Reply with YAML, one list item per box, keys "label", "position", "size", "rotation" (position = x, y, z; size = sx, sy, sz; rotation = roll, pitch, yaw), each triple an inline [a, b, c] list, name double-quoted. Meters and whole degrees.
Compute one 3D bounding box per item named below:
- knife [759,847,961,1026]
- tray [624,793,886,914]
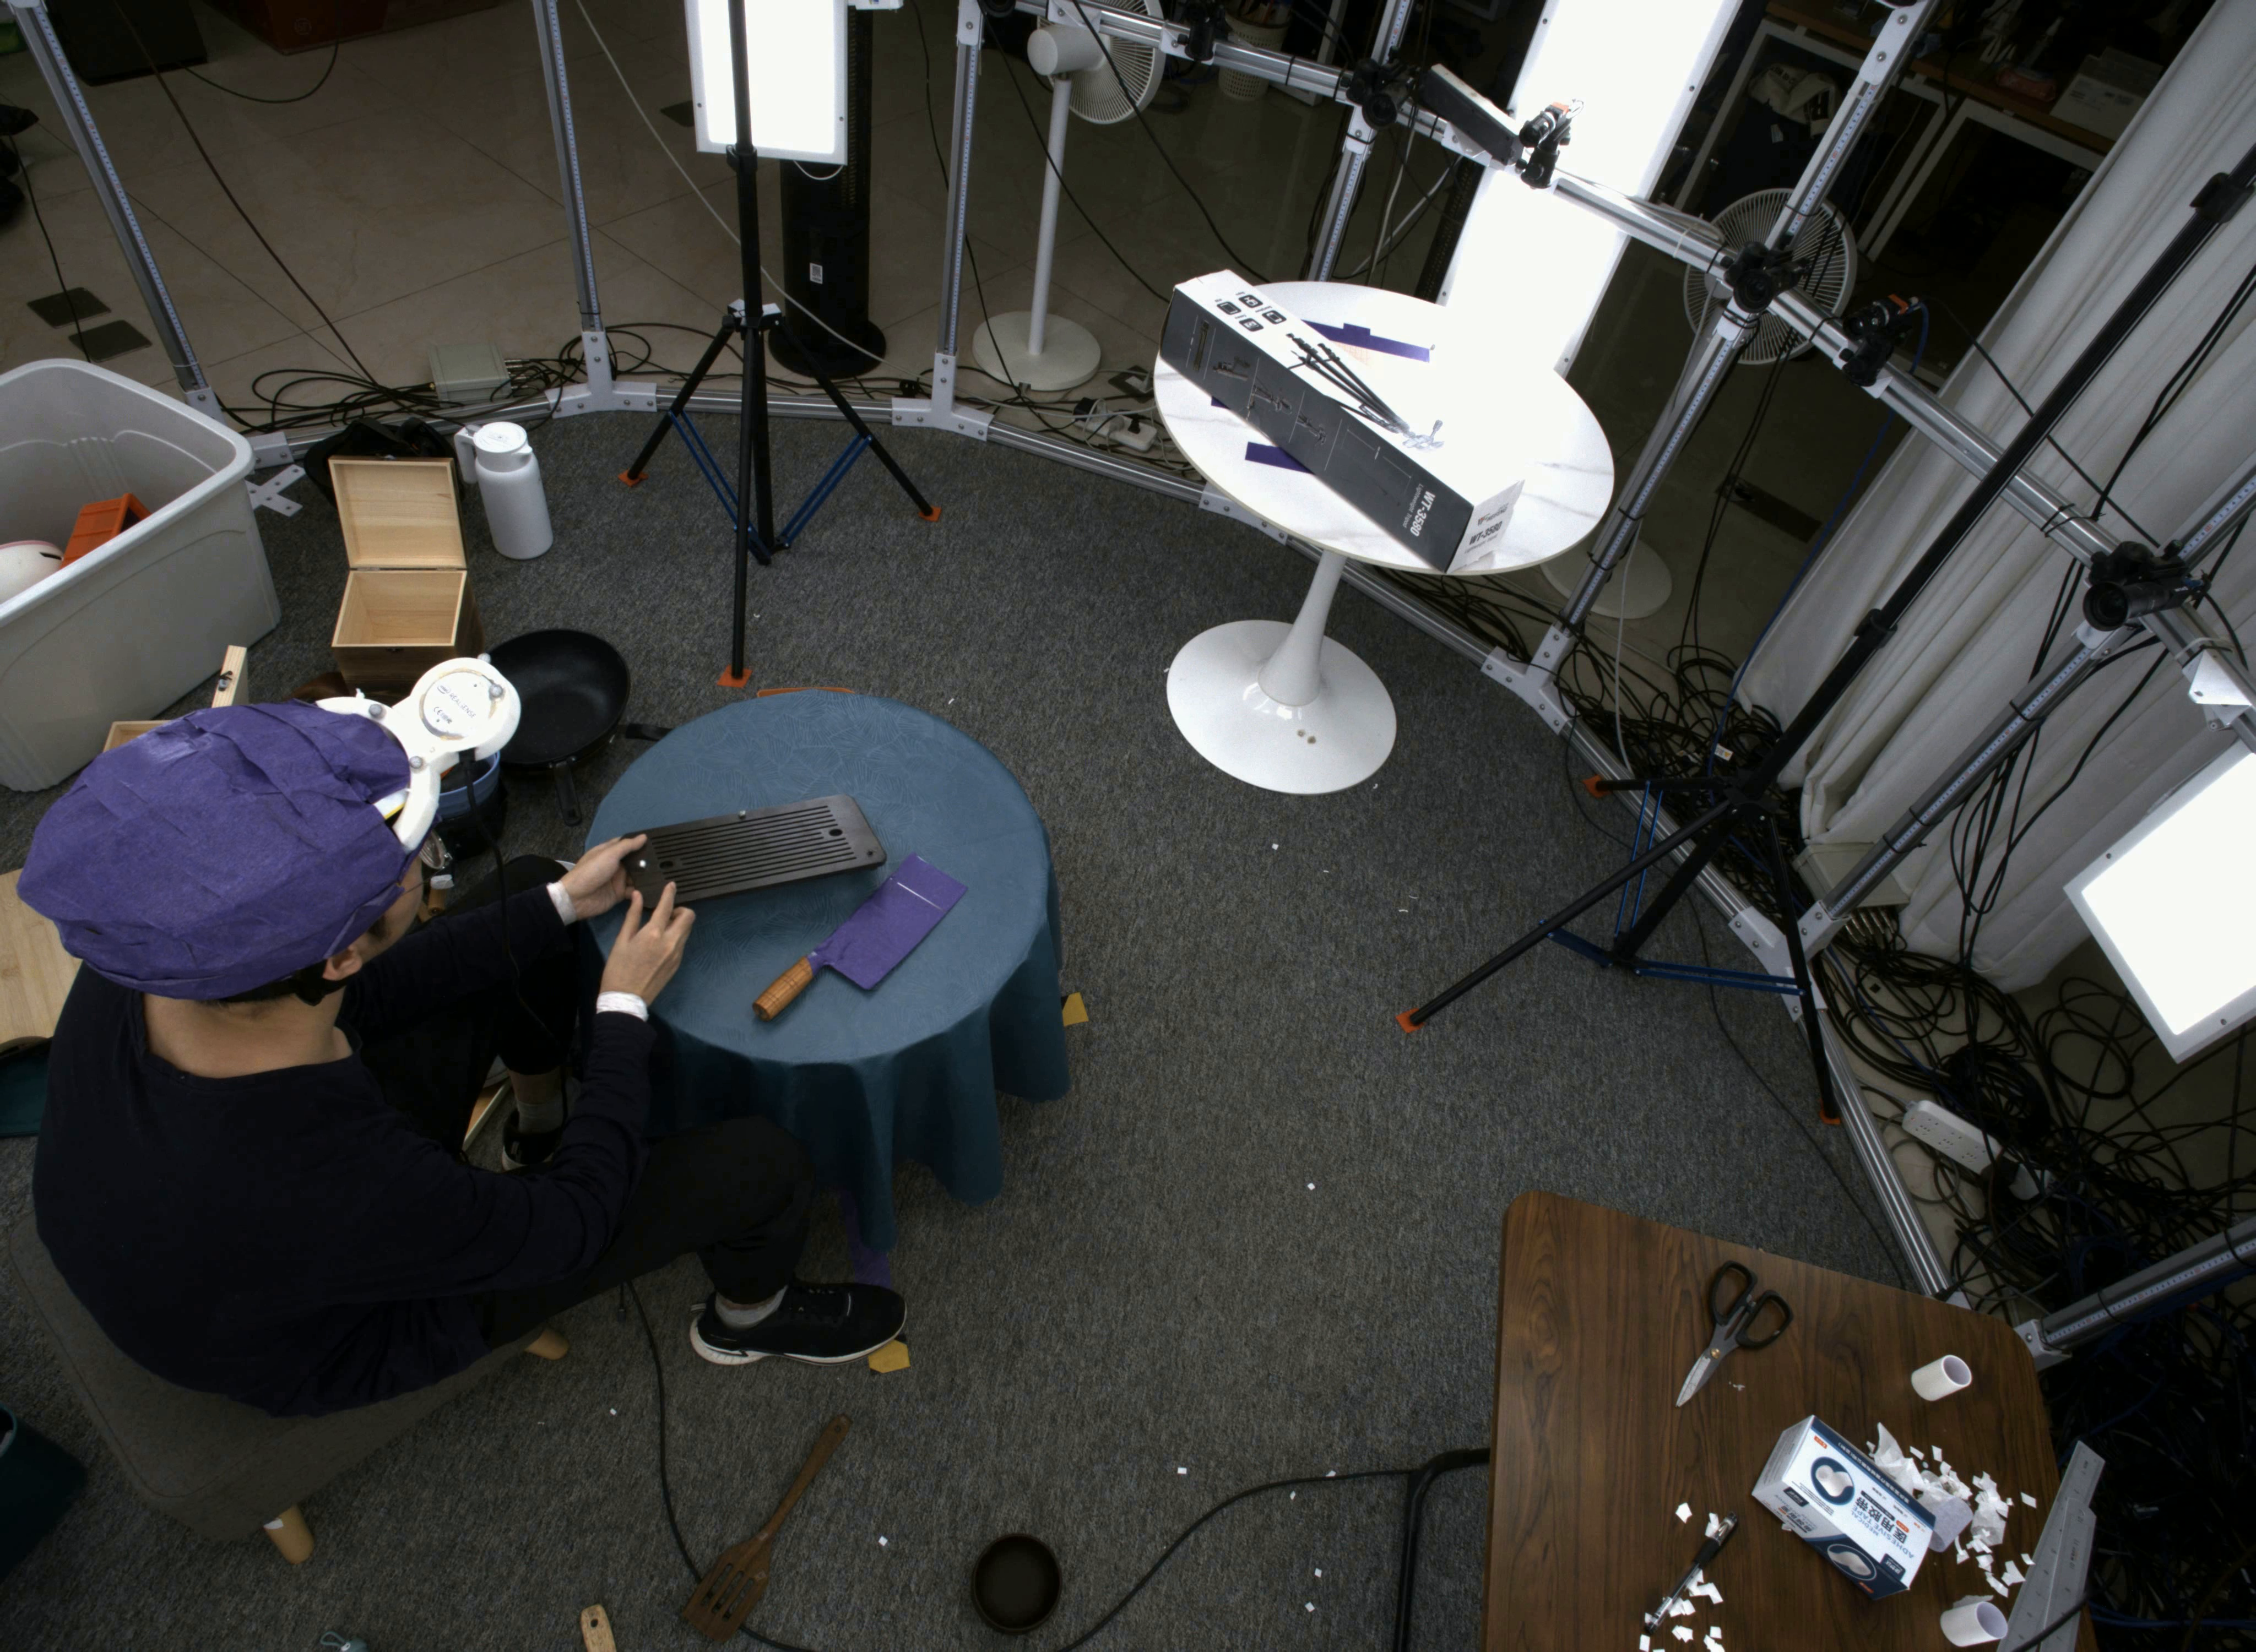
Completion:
- label: "knife"
  position: [-0.327, 0.144, 1.636]
  size: [0.102, 0.033, 0.314]
  rotation: [31, 52, 10]
- label: "tray"
  position: [-0.476, 0.030, 1.647]
  size: [0.308, 0.019, 0.164]
  rotation: [-12, 39, -26]
